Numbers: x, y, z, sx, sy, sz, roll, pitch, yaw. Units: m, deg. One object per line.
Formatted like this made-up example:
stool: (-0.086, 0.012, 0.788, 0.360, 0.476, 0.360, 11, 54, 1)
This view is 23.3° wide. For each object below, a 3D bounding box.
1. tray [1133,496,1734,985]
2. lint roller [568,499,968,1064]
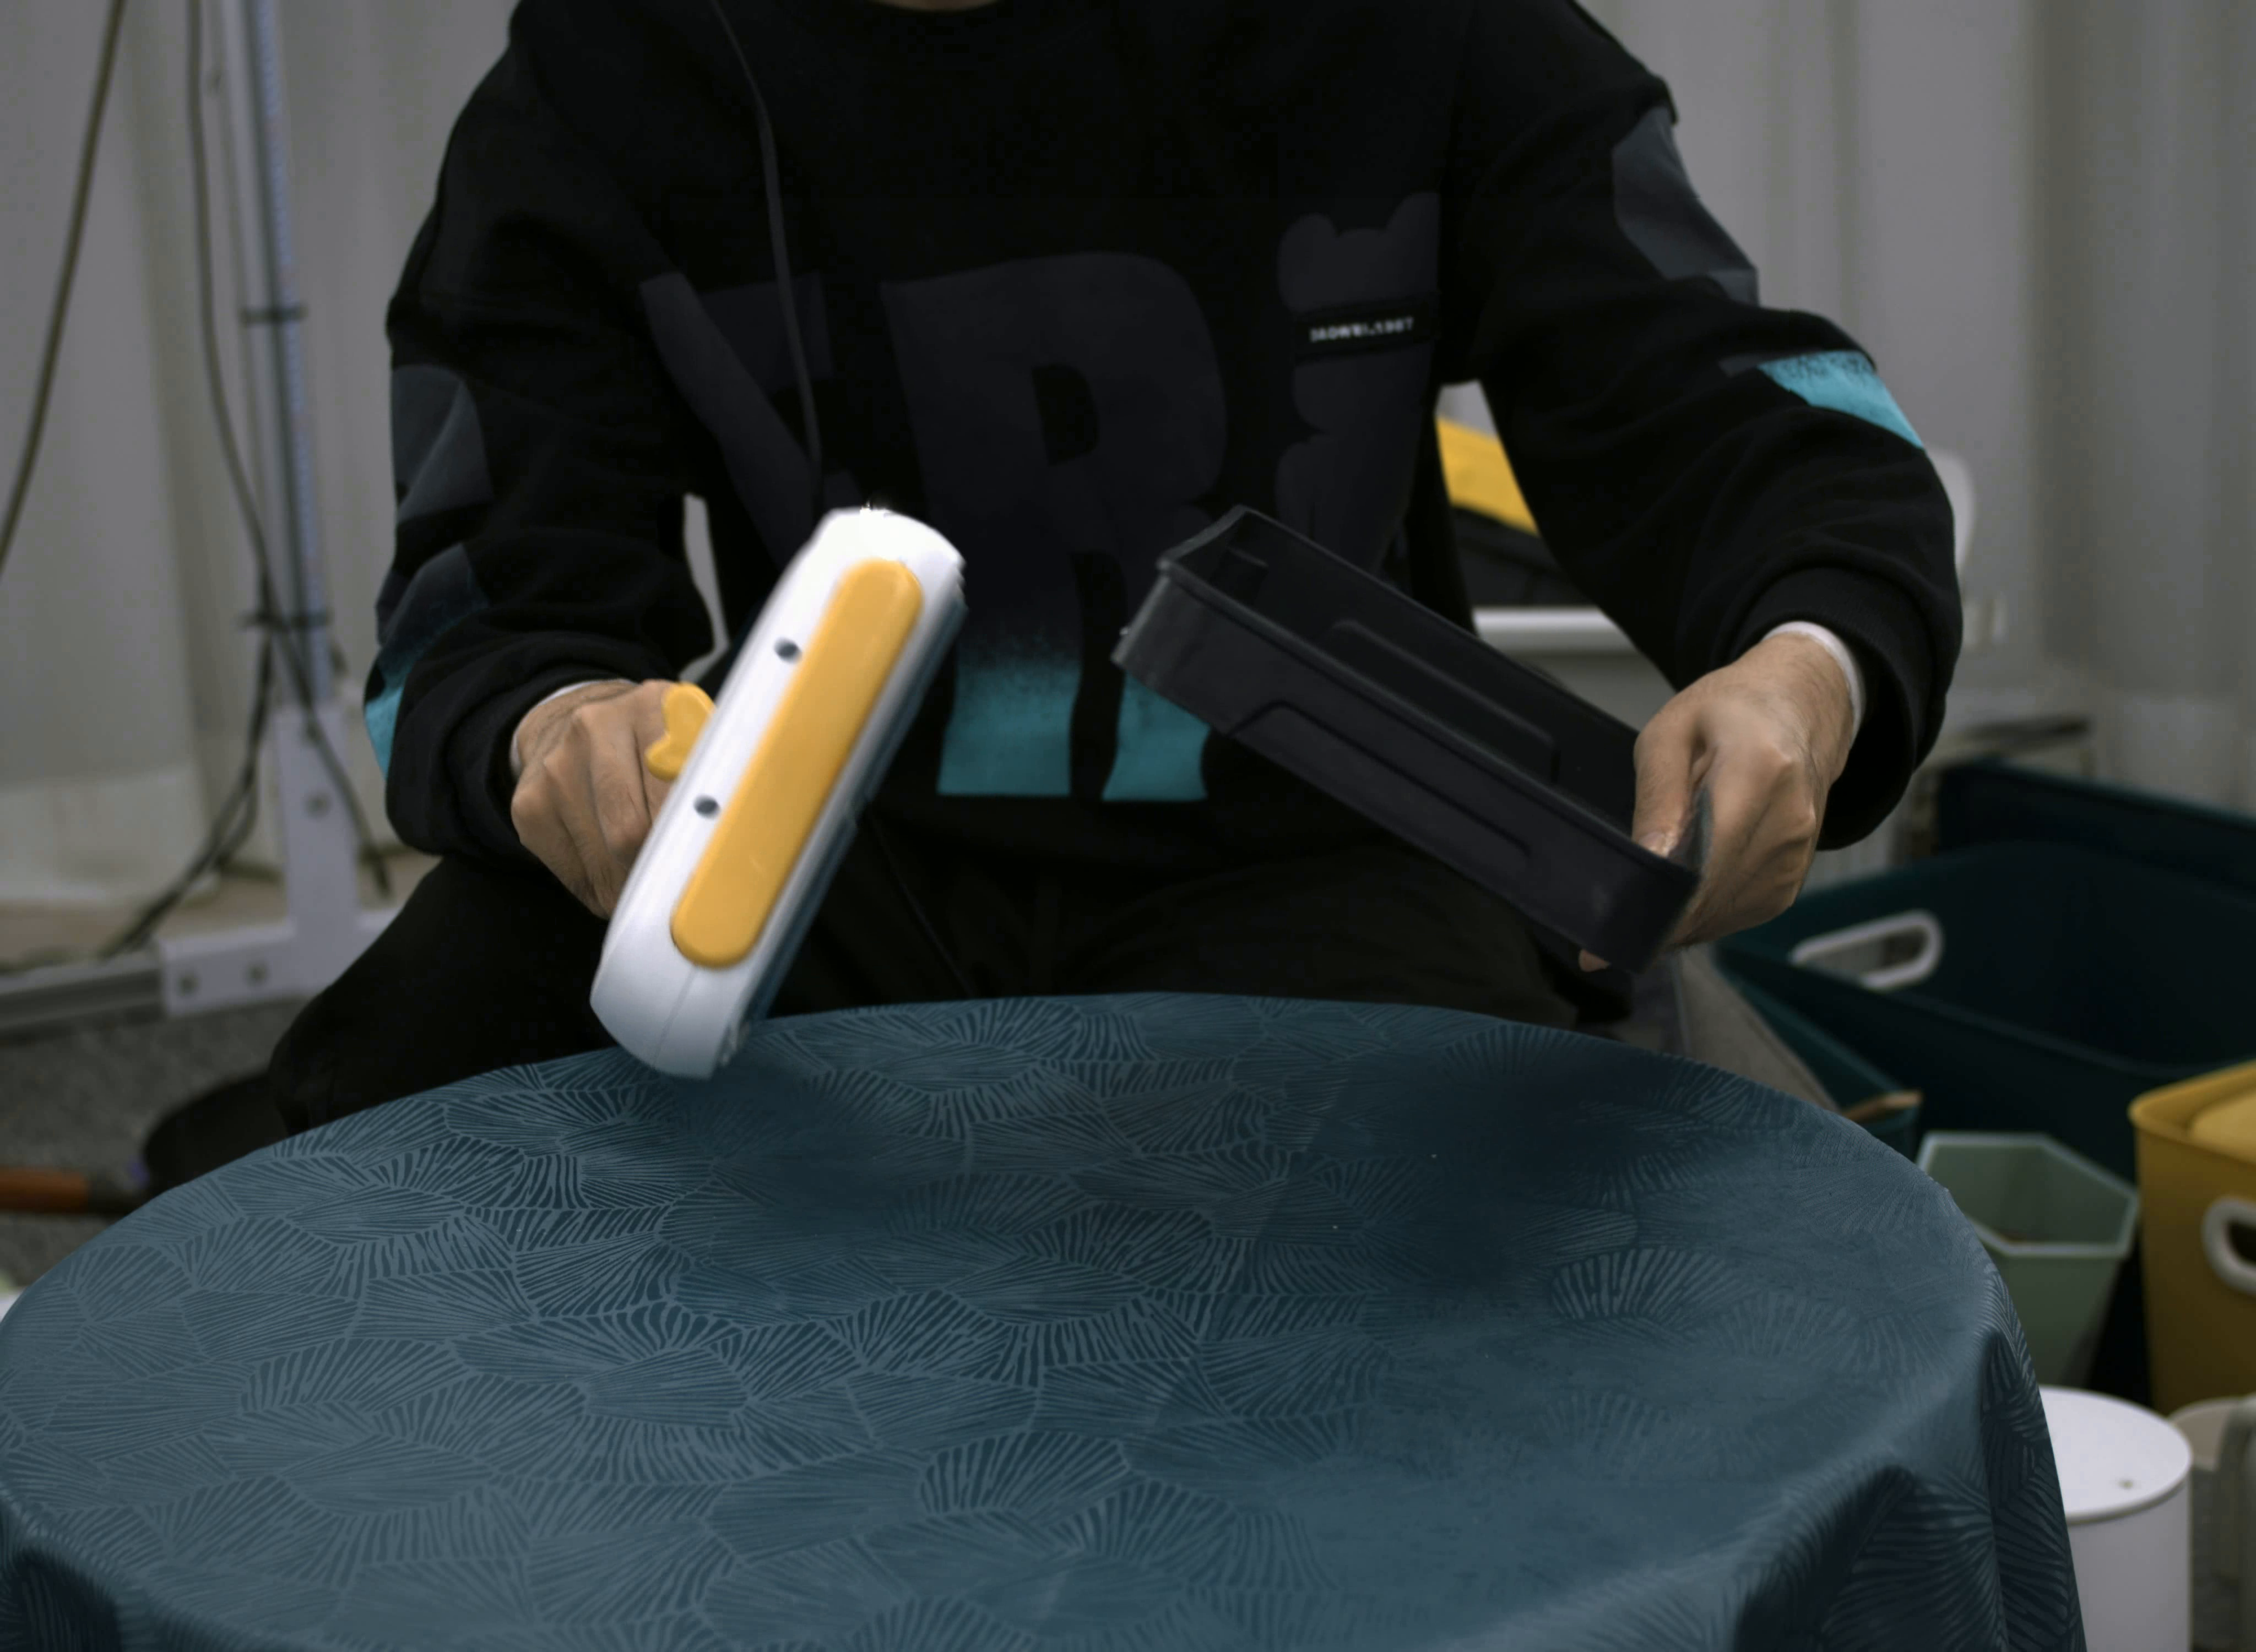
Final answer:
tray: (0.095, -0.032, 1.688, 0.184, 0.037, 0.319, 31, 8, 0)
lint roller: (-0.130, -0.002, 1.767, 0.074, 0.195, 0.191, 26, -24, -10)
